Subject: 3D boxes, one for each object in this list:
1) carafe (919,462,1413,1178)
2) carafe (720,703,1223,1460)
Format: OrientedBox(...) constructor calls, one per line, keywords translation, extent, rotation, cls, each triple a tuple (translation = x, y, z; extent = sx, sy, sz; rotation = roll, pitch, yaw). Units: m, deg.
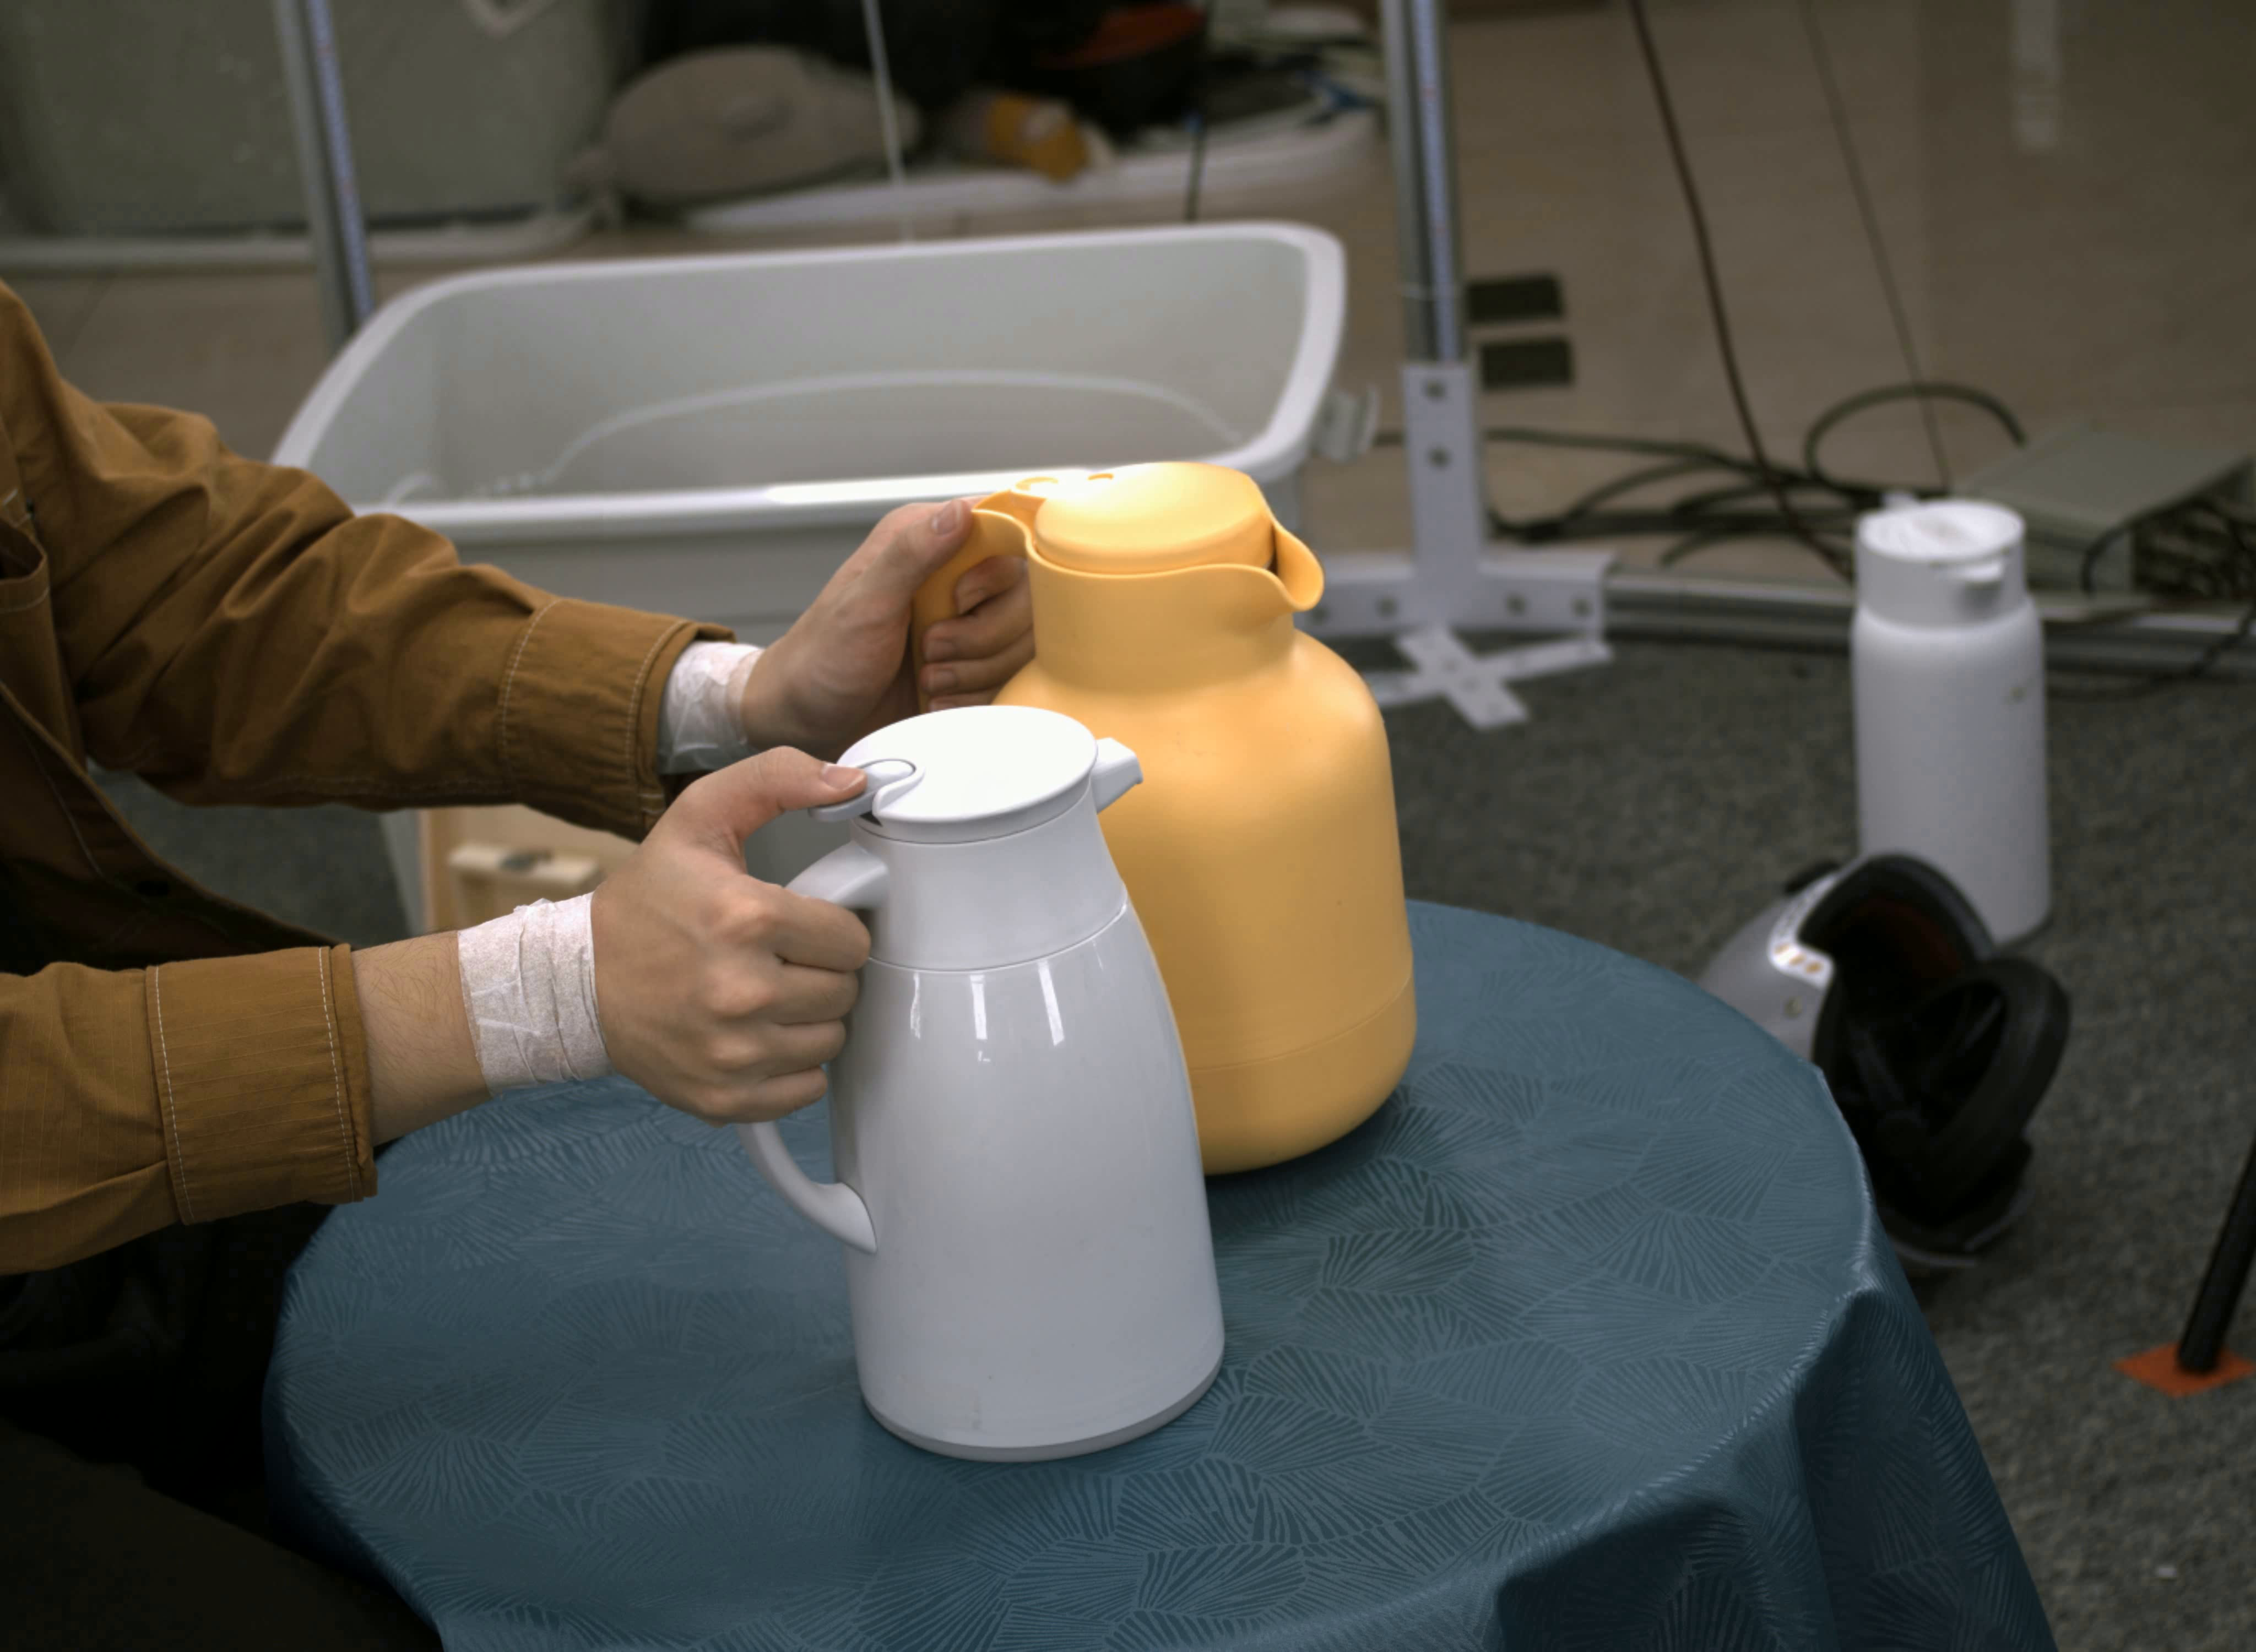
OrientedBox(translation=(0.008, -0.012, 2.160), extent=(0.201, 0.264, 0.162), rotation=(18, 34, 39), cls="carafe")
OrientedBox(translation=(-0.059, 0.088, 1.974), extent=(0.167, 0.252, 0.131), rotation=(-20, 29, -25), cls="carafe")
